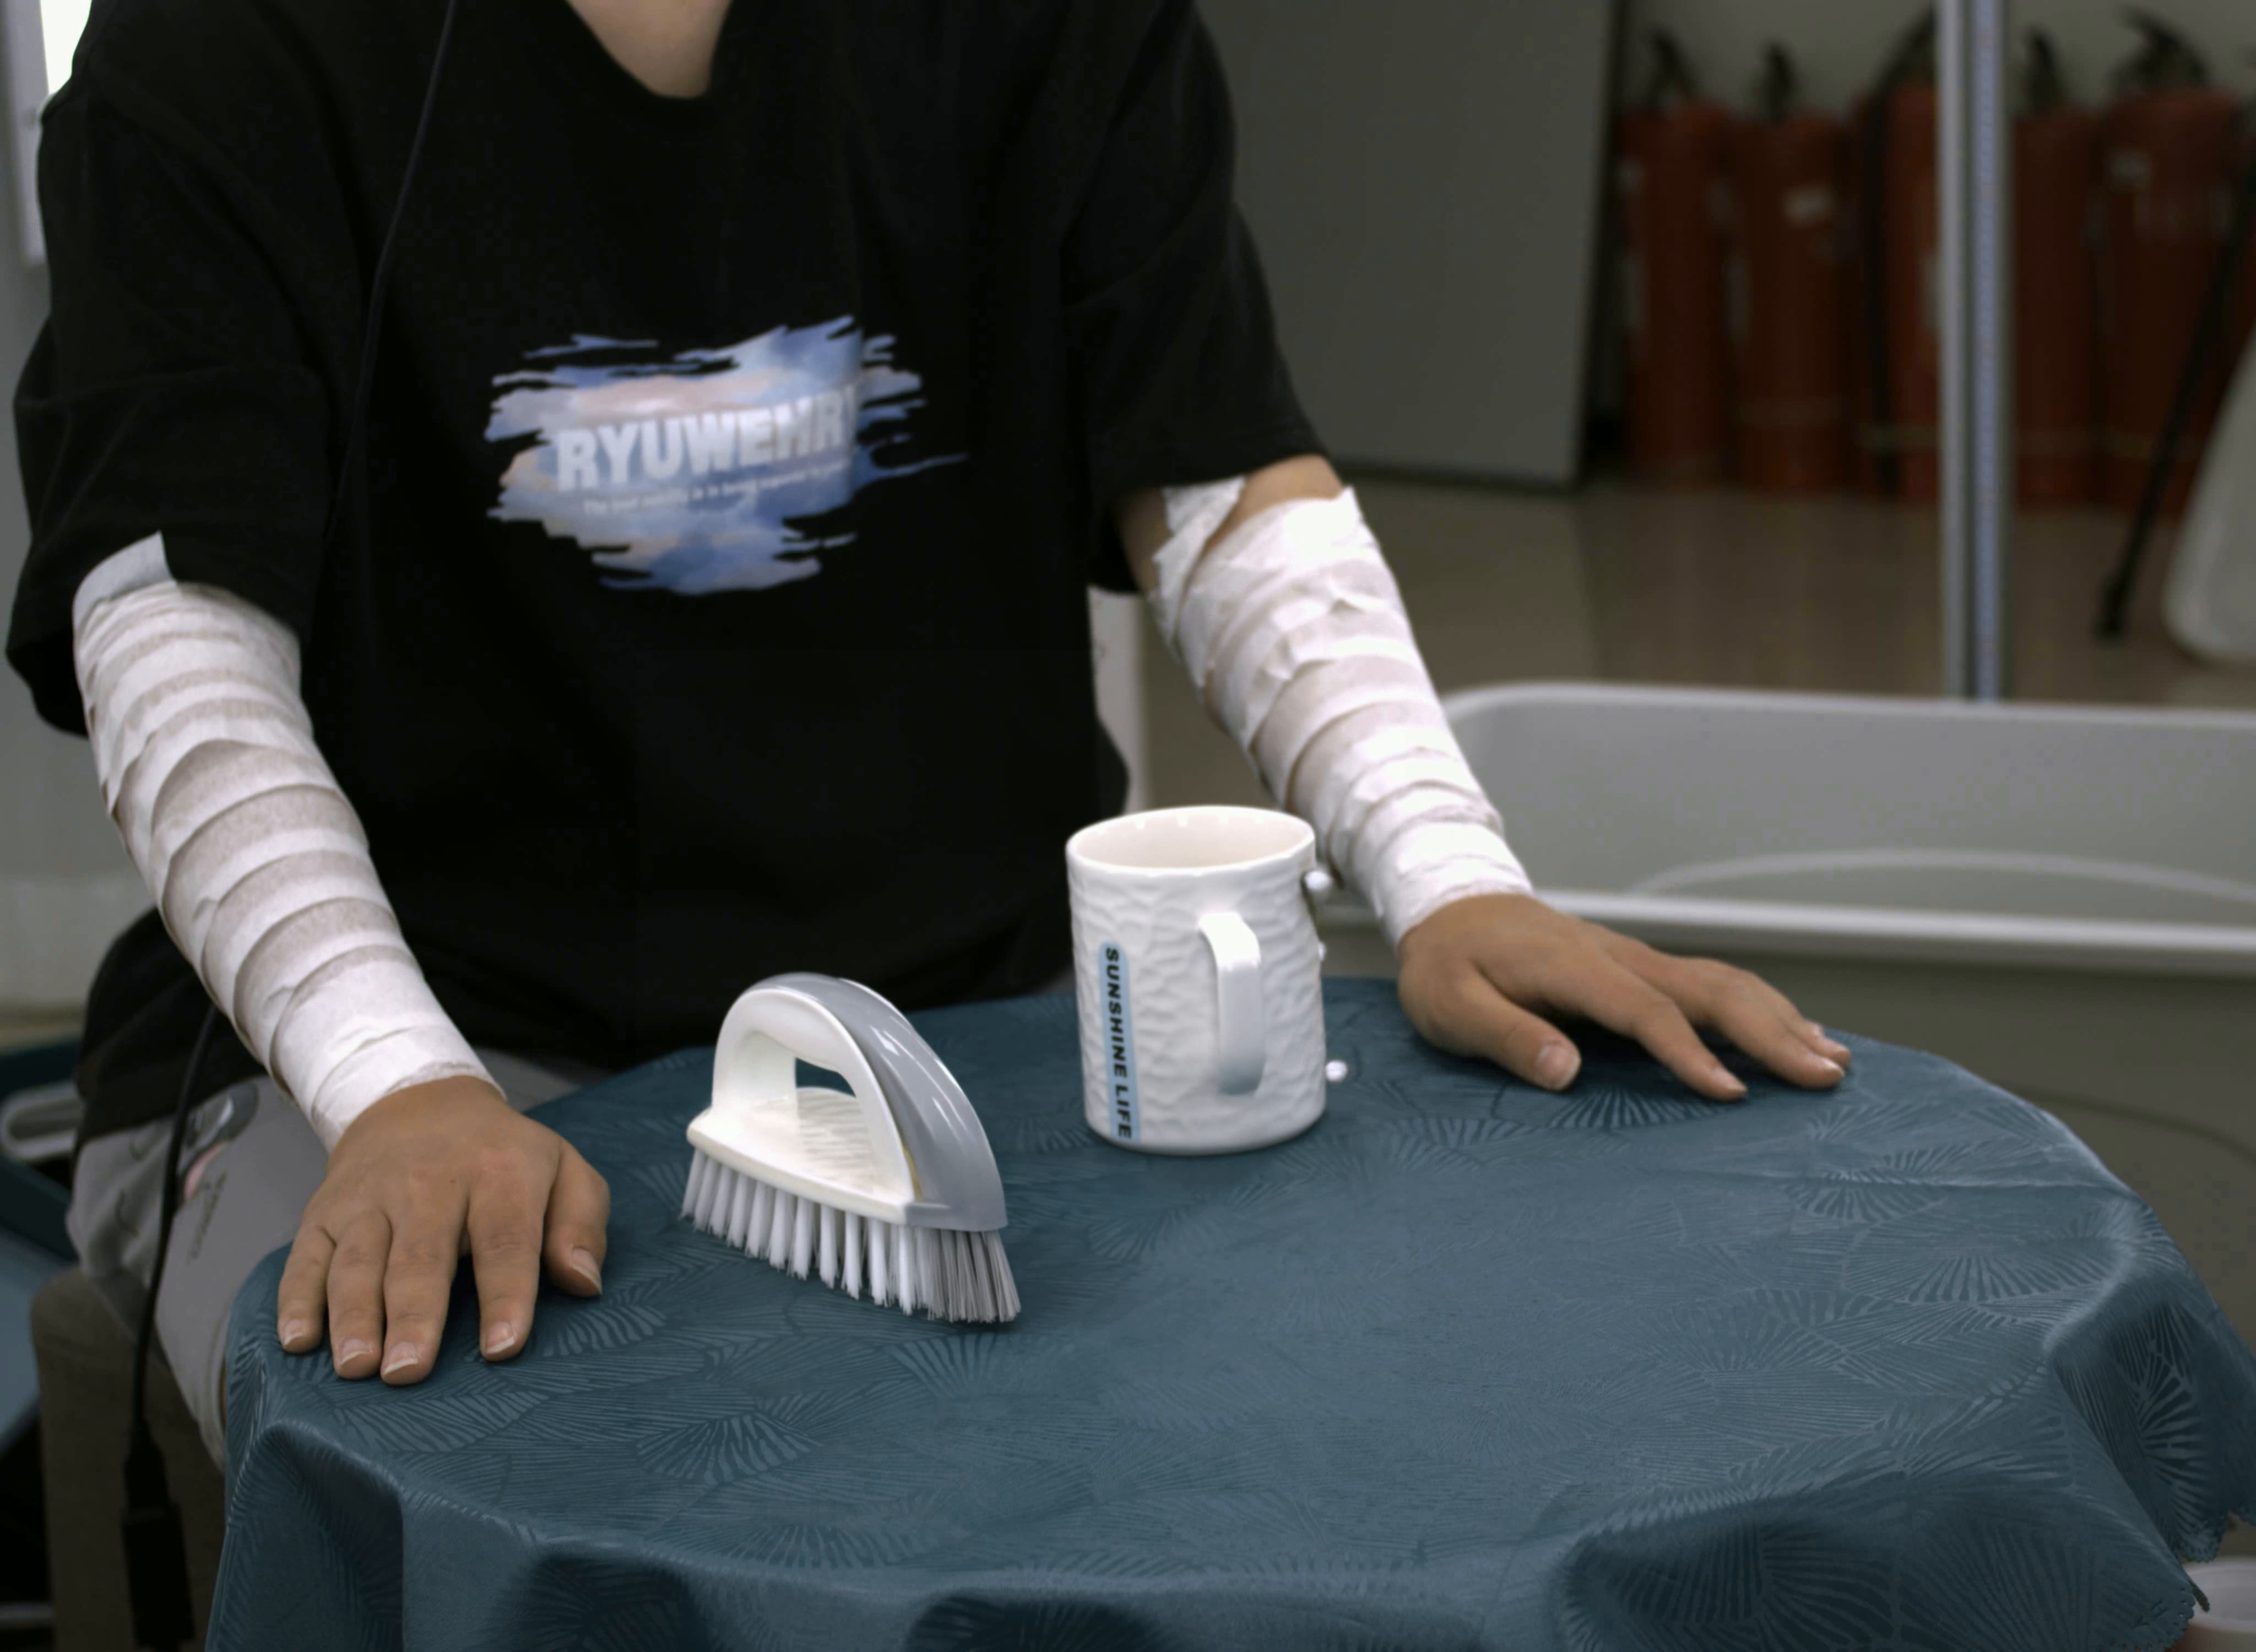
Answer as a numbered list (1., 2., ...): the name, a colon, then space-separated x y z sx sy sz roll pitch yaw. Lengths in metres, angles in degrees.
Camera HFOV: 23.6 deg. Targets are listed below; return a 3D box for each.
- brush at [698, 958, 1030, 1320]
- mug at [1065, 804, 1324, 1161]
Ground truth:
1. brush: -0.081 0.095 1.710 0.060 0.095 0.177 -16 19 -27
2. mug: 0.027 0.057 1.813 0.083 0.103 0.119 -7 14 -11
